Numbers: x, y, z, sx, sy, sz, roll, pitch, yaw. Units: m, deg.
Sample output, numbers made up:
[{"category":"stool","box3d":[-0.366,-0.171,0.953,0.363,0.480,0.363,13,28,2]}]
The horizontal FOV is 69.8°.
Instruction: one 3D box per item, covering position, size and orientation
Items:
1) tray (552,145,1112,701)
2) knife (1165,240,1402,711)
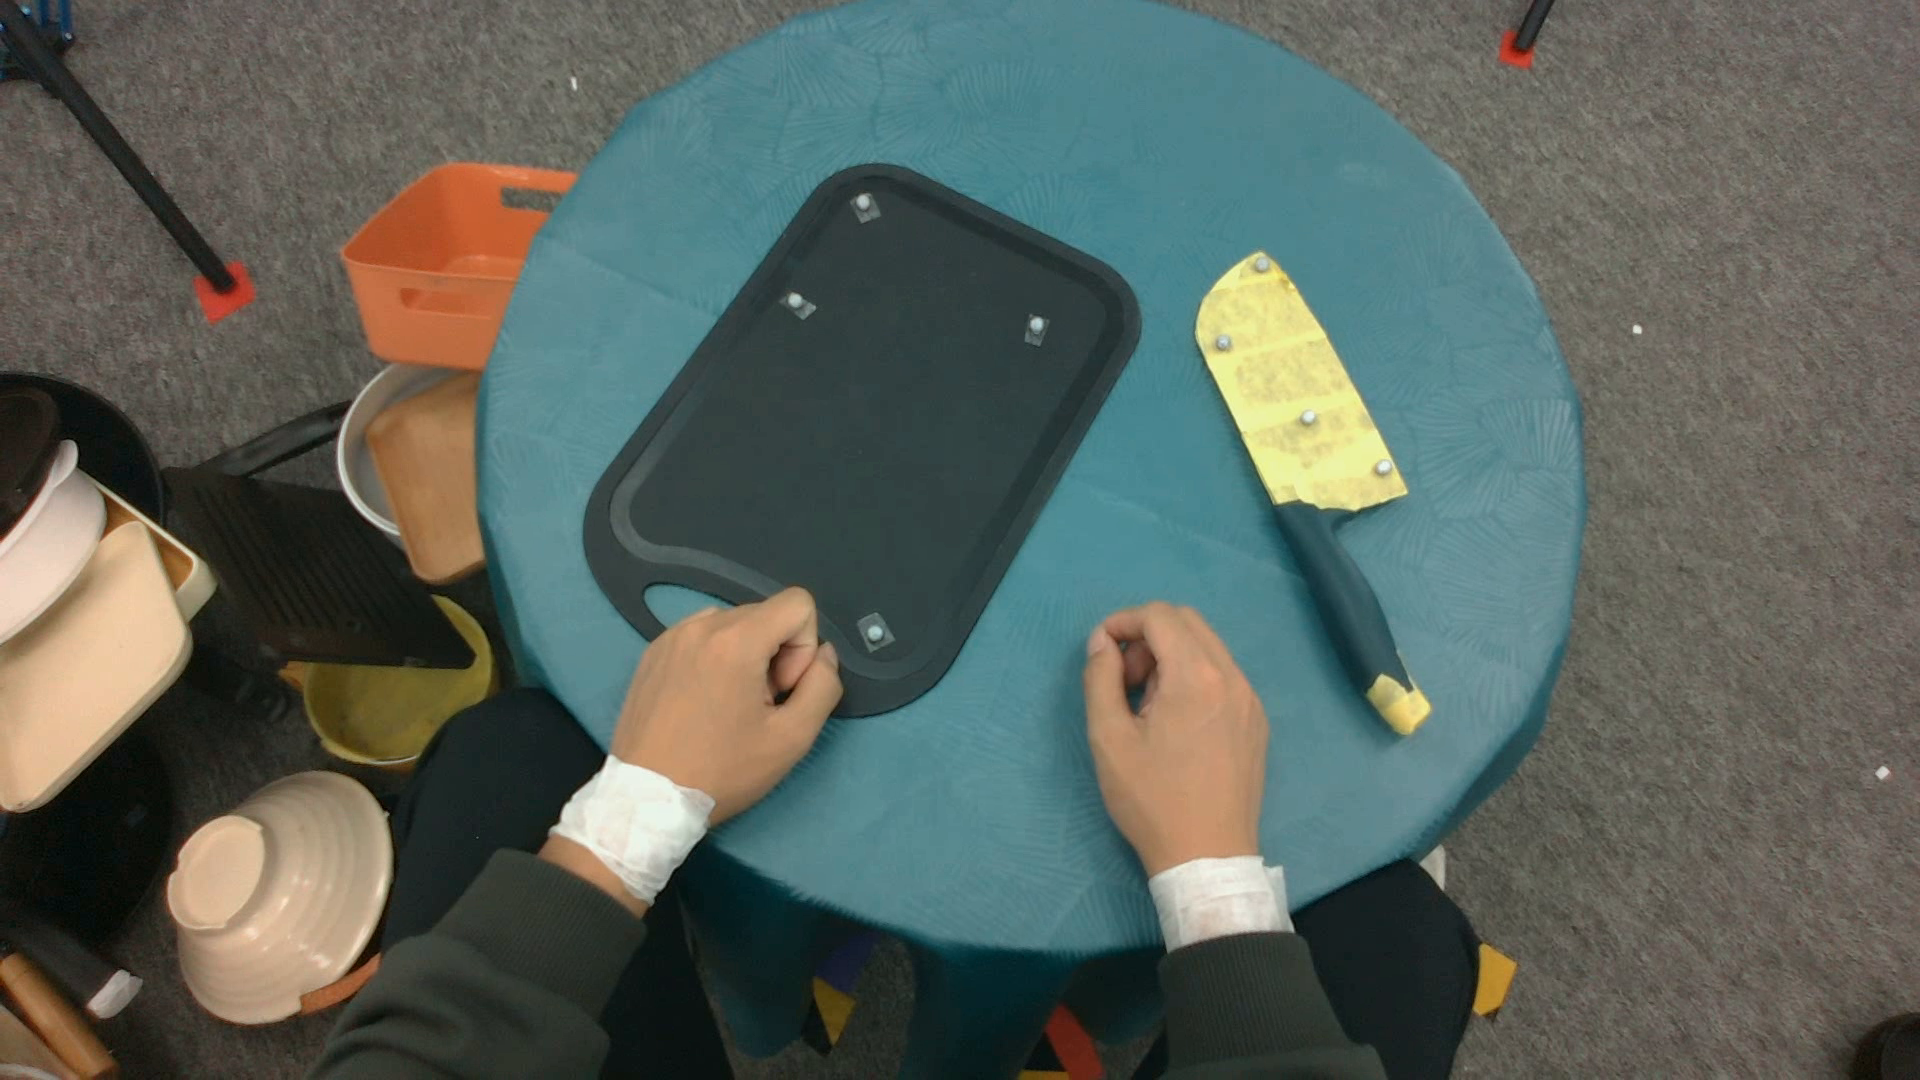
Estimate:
[{"category":"tray","box3d":[-0.065,-0.071,0.737,0.211,0.010,0.326,27,67,8]},{"category":"knife","box3d":[0.181,-0.046,0.742,0.081,0.027,0.290,-13,67,-9]}]
